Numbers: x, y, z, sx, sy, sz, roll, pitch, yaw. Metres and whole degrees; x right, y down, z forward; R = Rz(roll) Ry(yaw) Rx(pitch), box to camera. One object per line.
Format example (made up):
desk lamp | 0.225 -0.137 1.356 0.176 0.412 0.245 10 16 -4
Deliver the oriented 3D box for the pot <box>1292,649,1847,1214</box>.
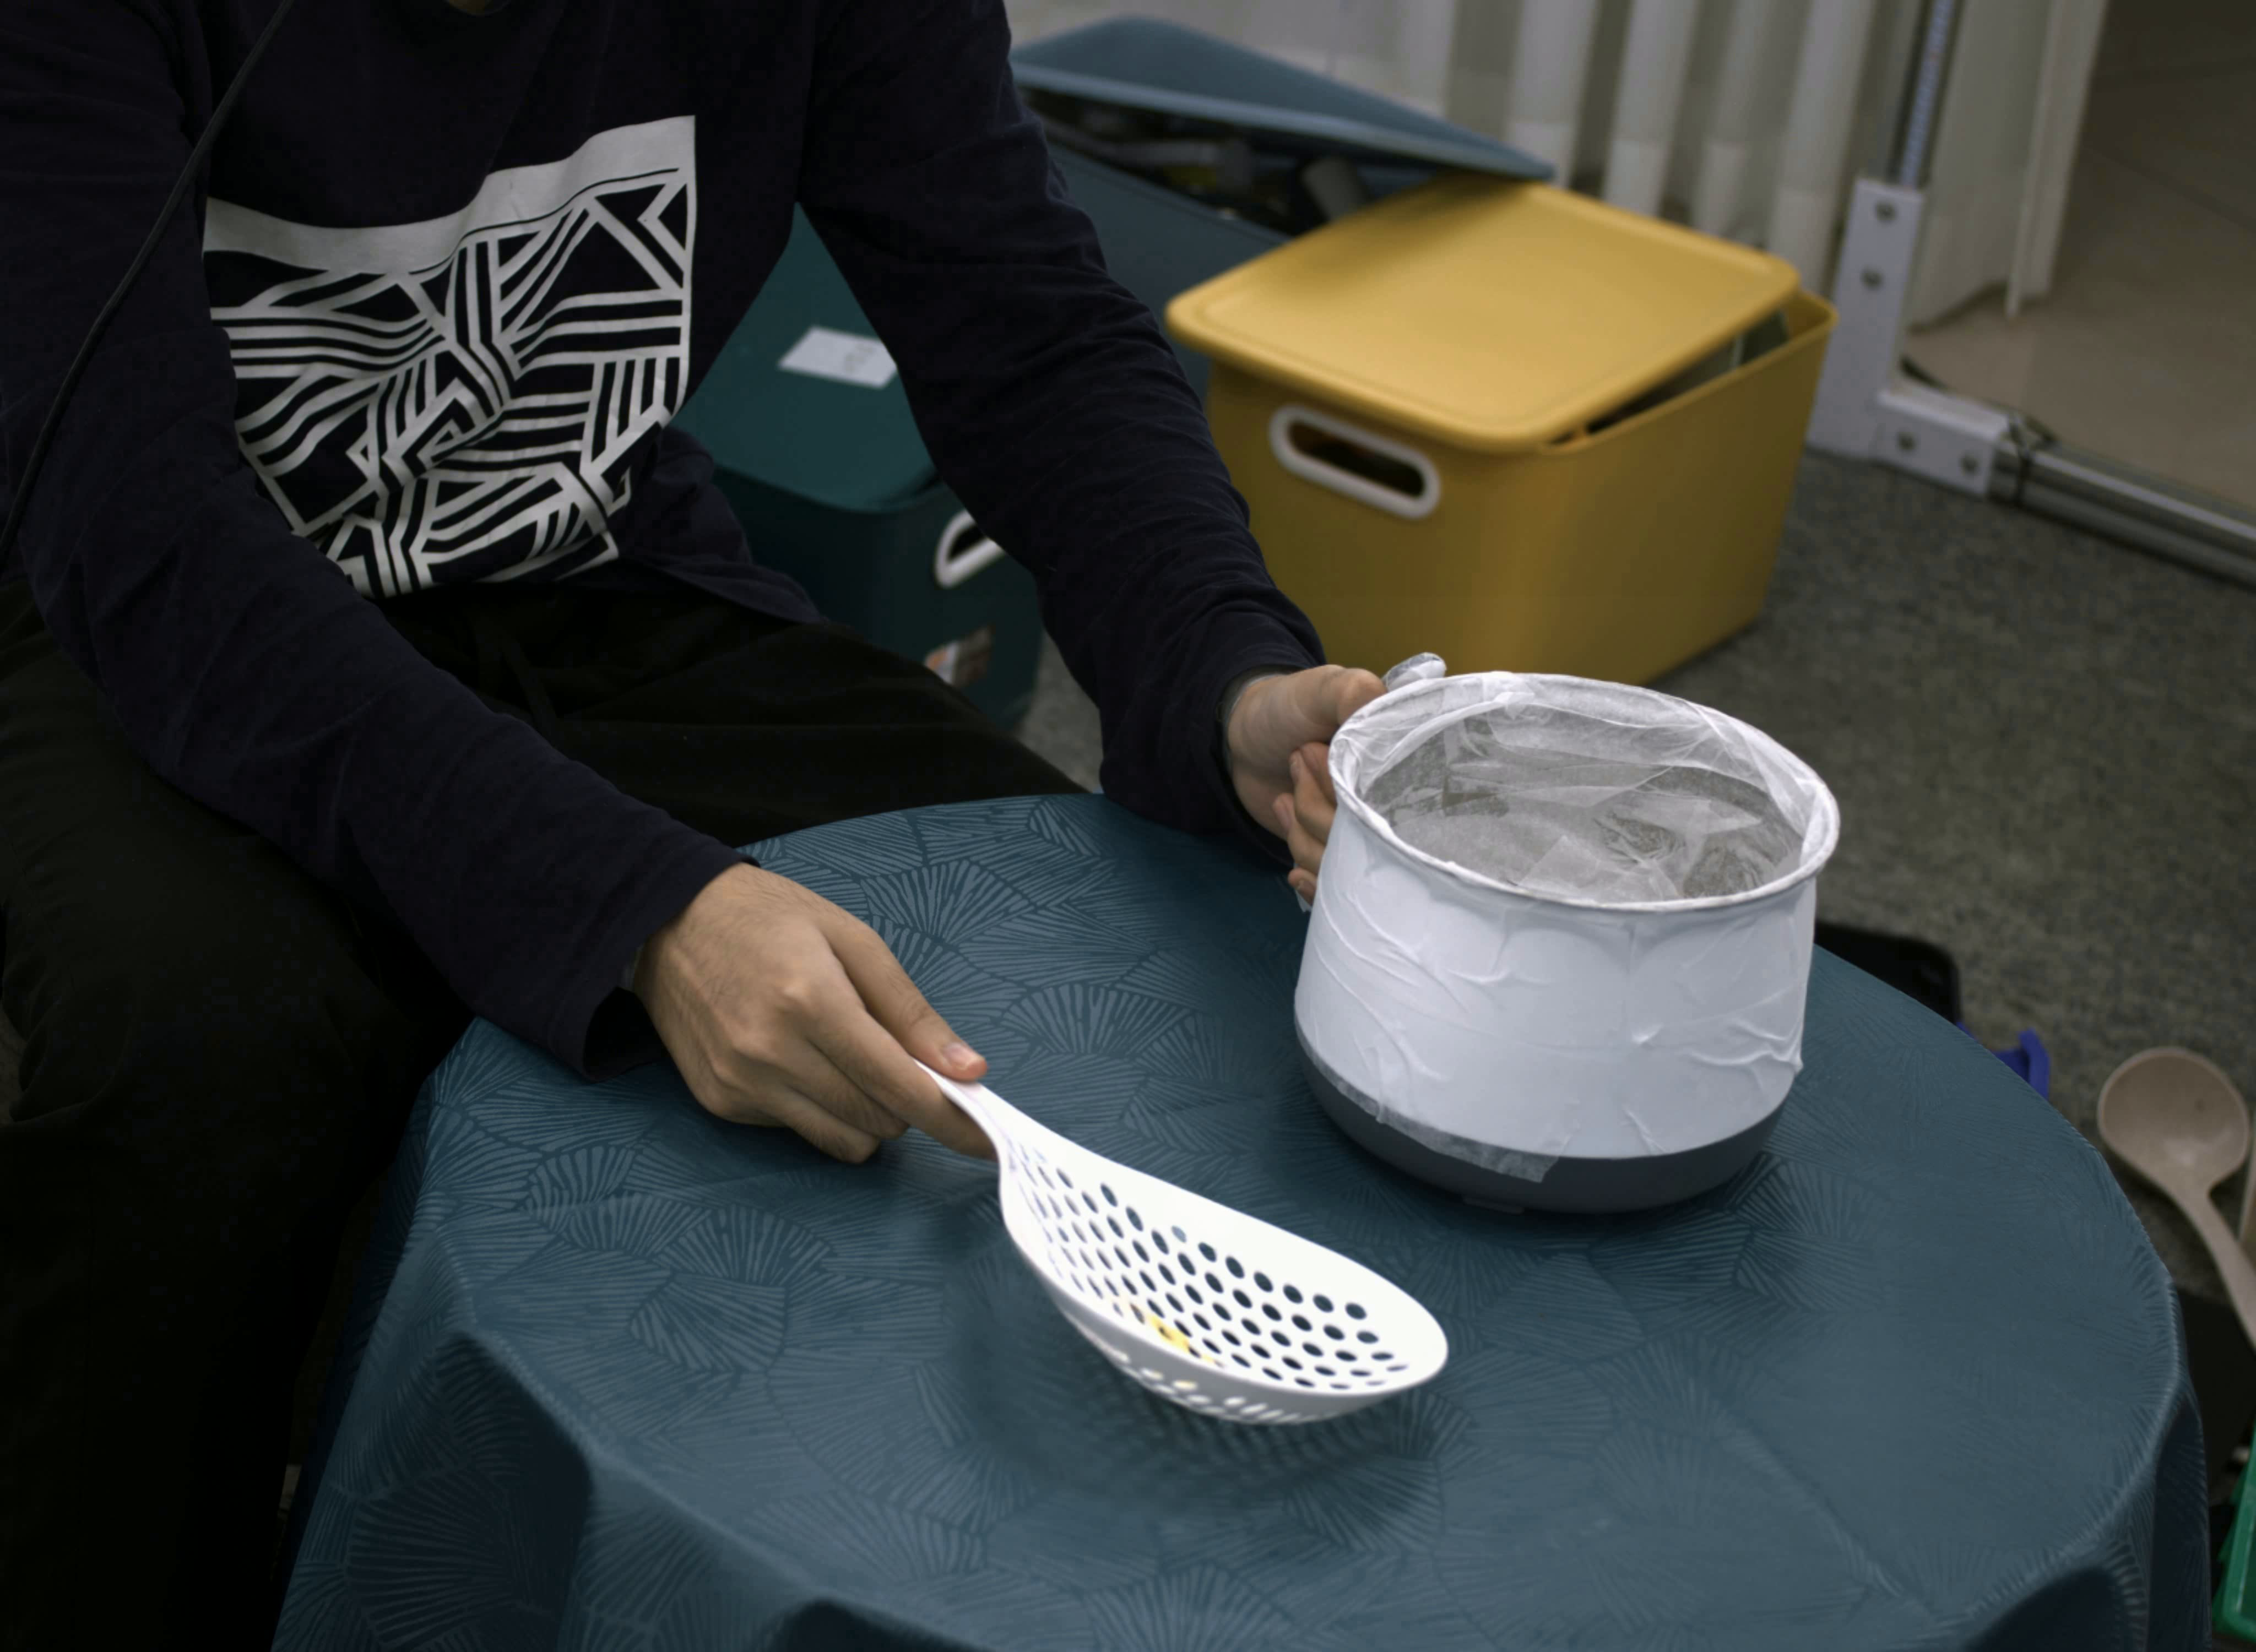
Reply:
pot | 0.135 0.030 1.869 0.177 0.136 0.236 -8 30 -32

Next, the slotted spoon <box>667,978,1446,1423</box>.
slotted spoon | -0.039 0.113 1.758 0.136 0.050 0.351 -1 27 -43
